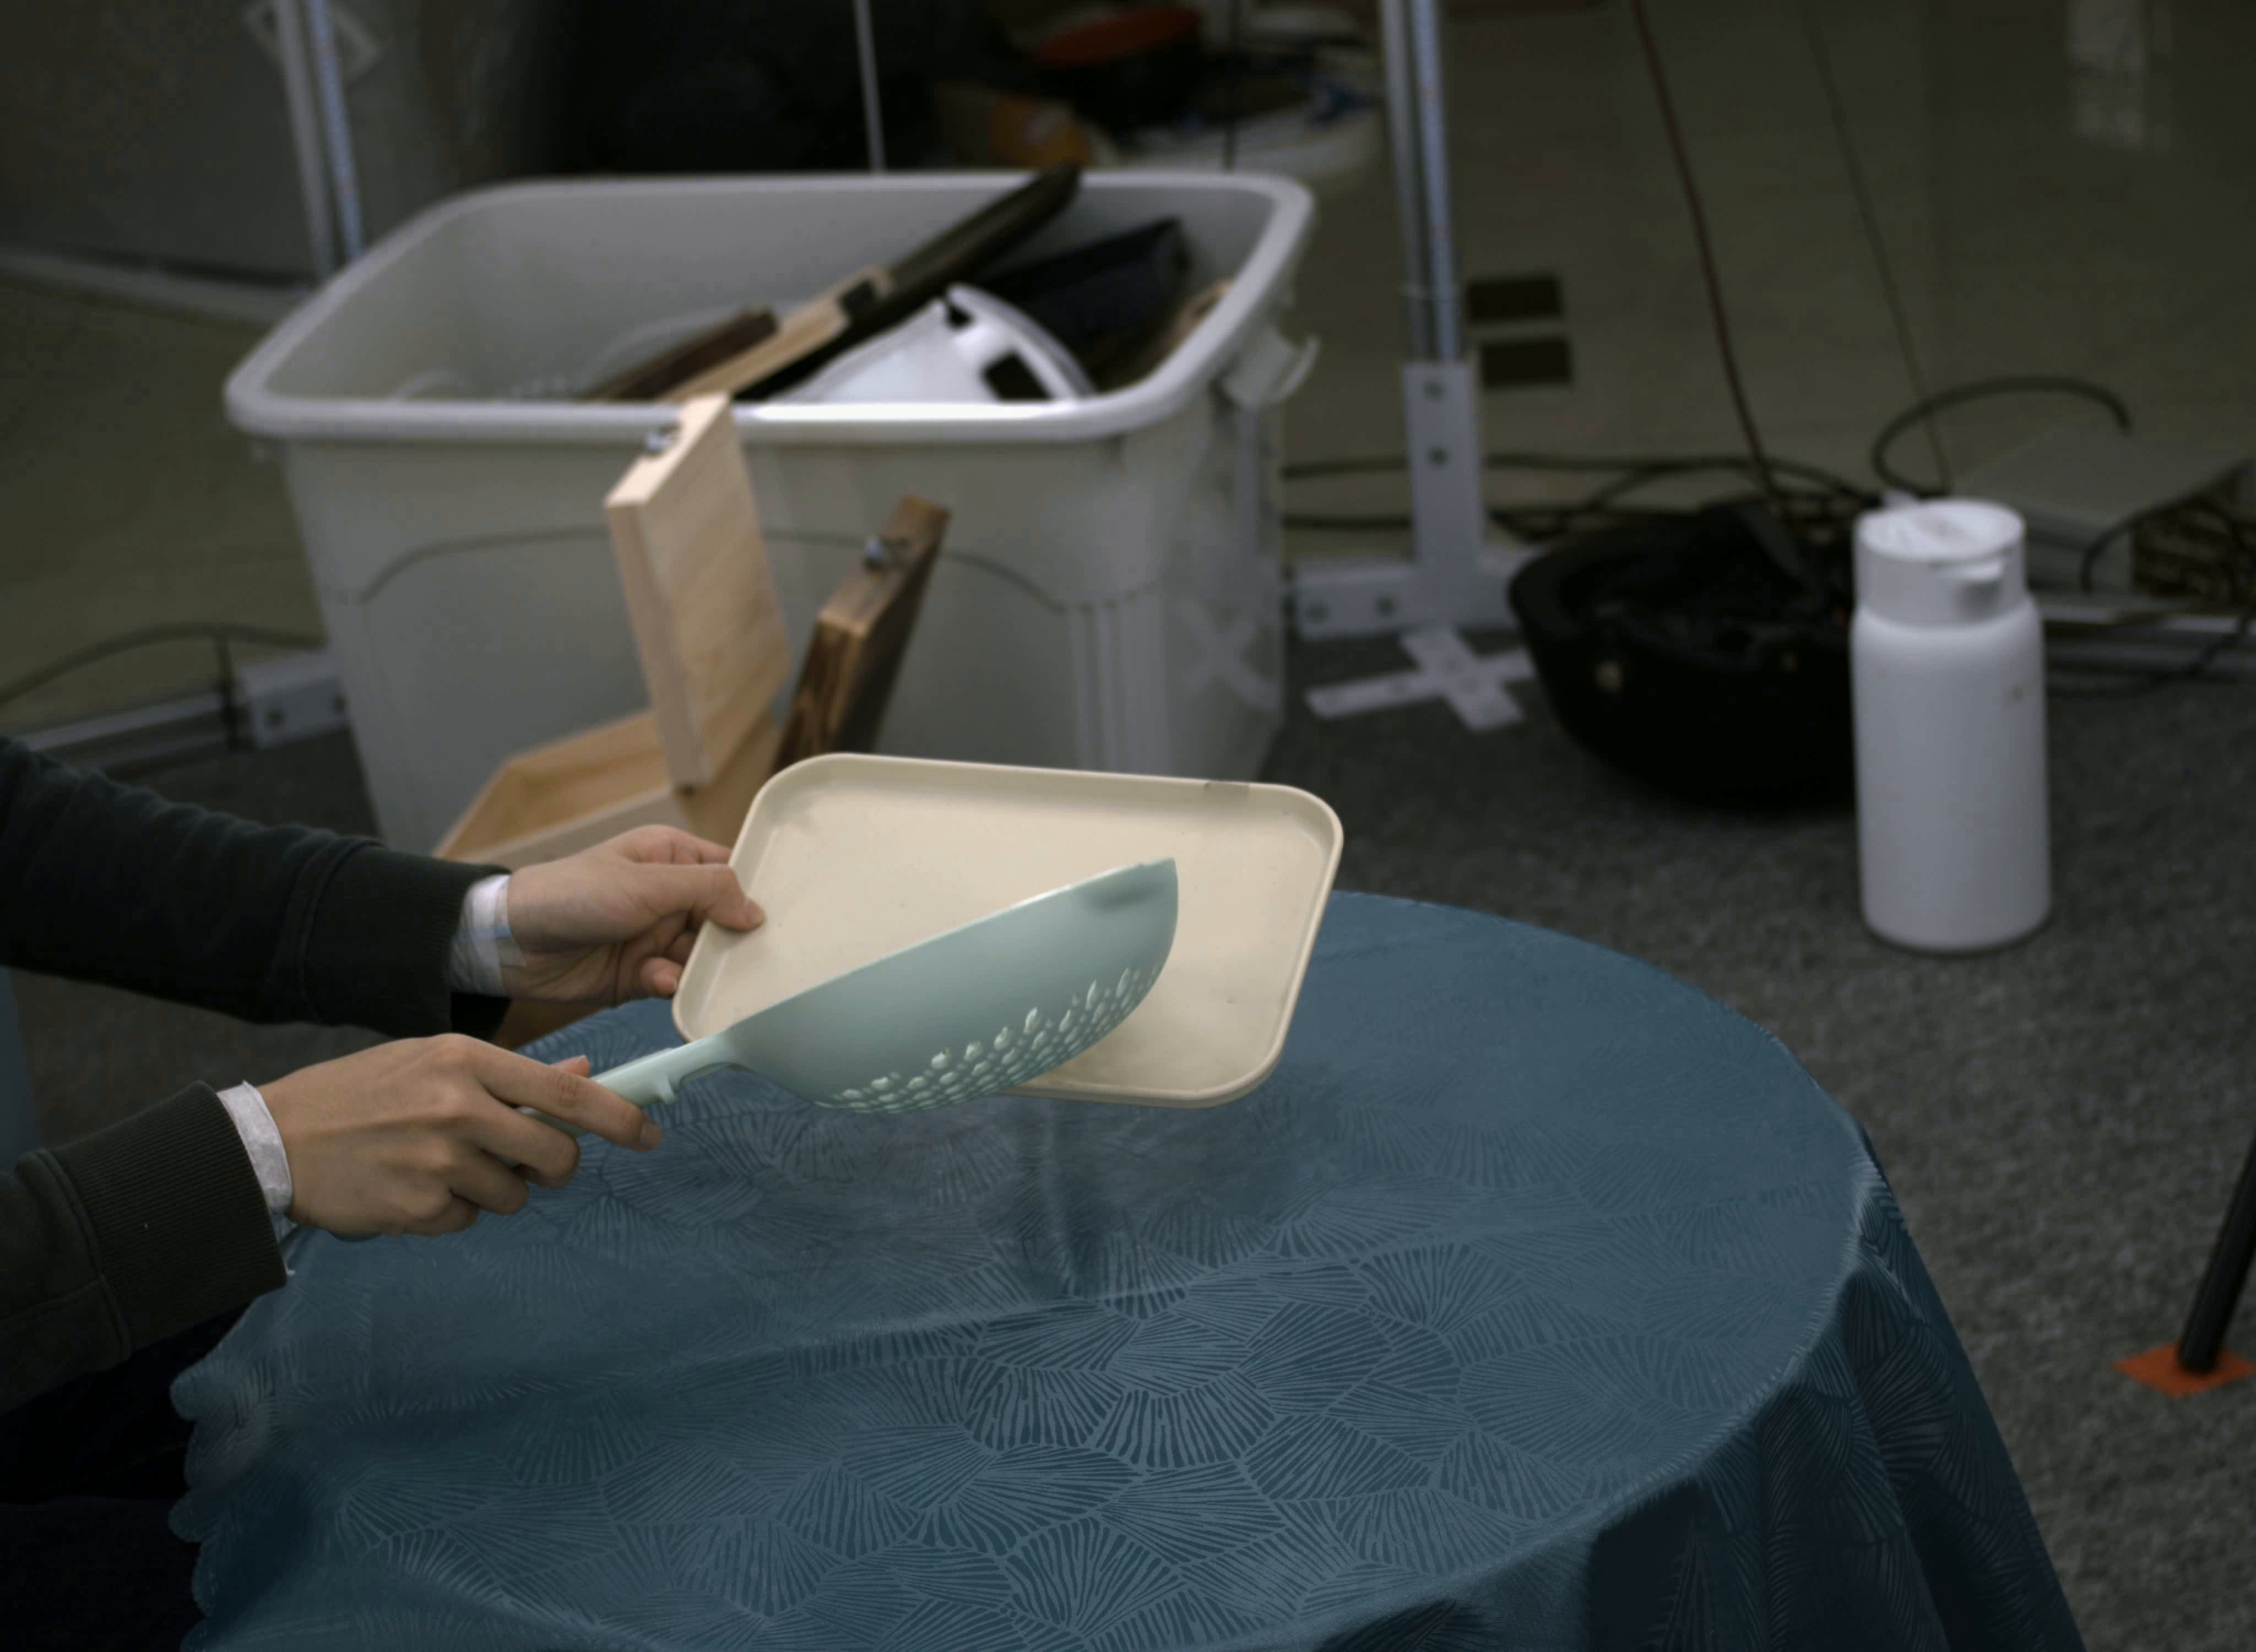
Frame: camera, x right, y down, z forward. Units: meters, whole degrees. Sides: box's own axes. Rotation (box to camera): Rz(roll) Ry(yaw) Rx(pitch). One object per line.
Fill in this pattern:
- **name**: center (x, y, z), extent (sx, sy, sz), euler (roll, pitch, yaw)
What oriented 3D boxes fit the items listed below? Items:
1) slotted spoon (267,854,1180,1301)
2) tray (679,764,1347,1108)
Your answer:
- **slotted spoon**: center (-0.147, 0.091, 2.054), extent (0.358, 0.075, 0.169), euler (-14, -4, 0)
- **tray**: center (-0.042, 0.042, 2.168), extent (0.239, 0.018, 0.168), euler (4, 45, 15)
